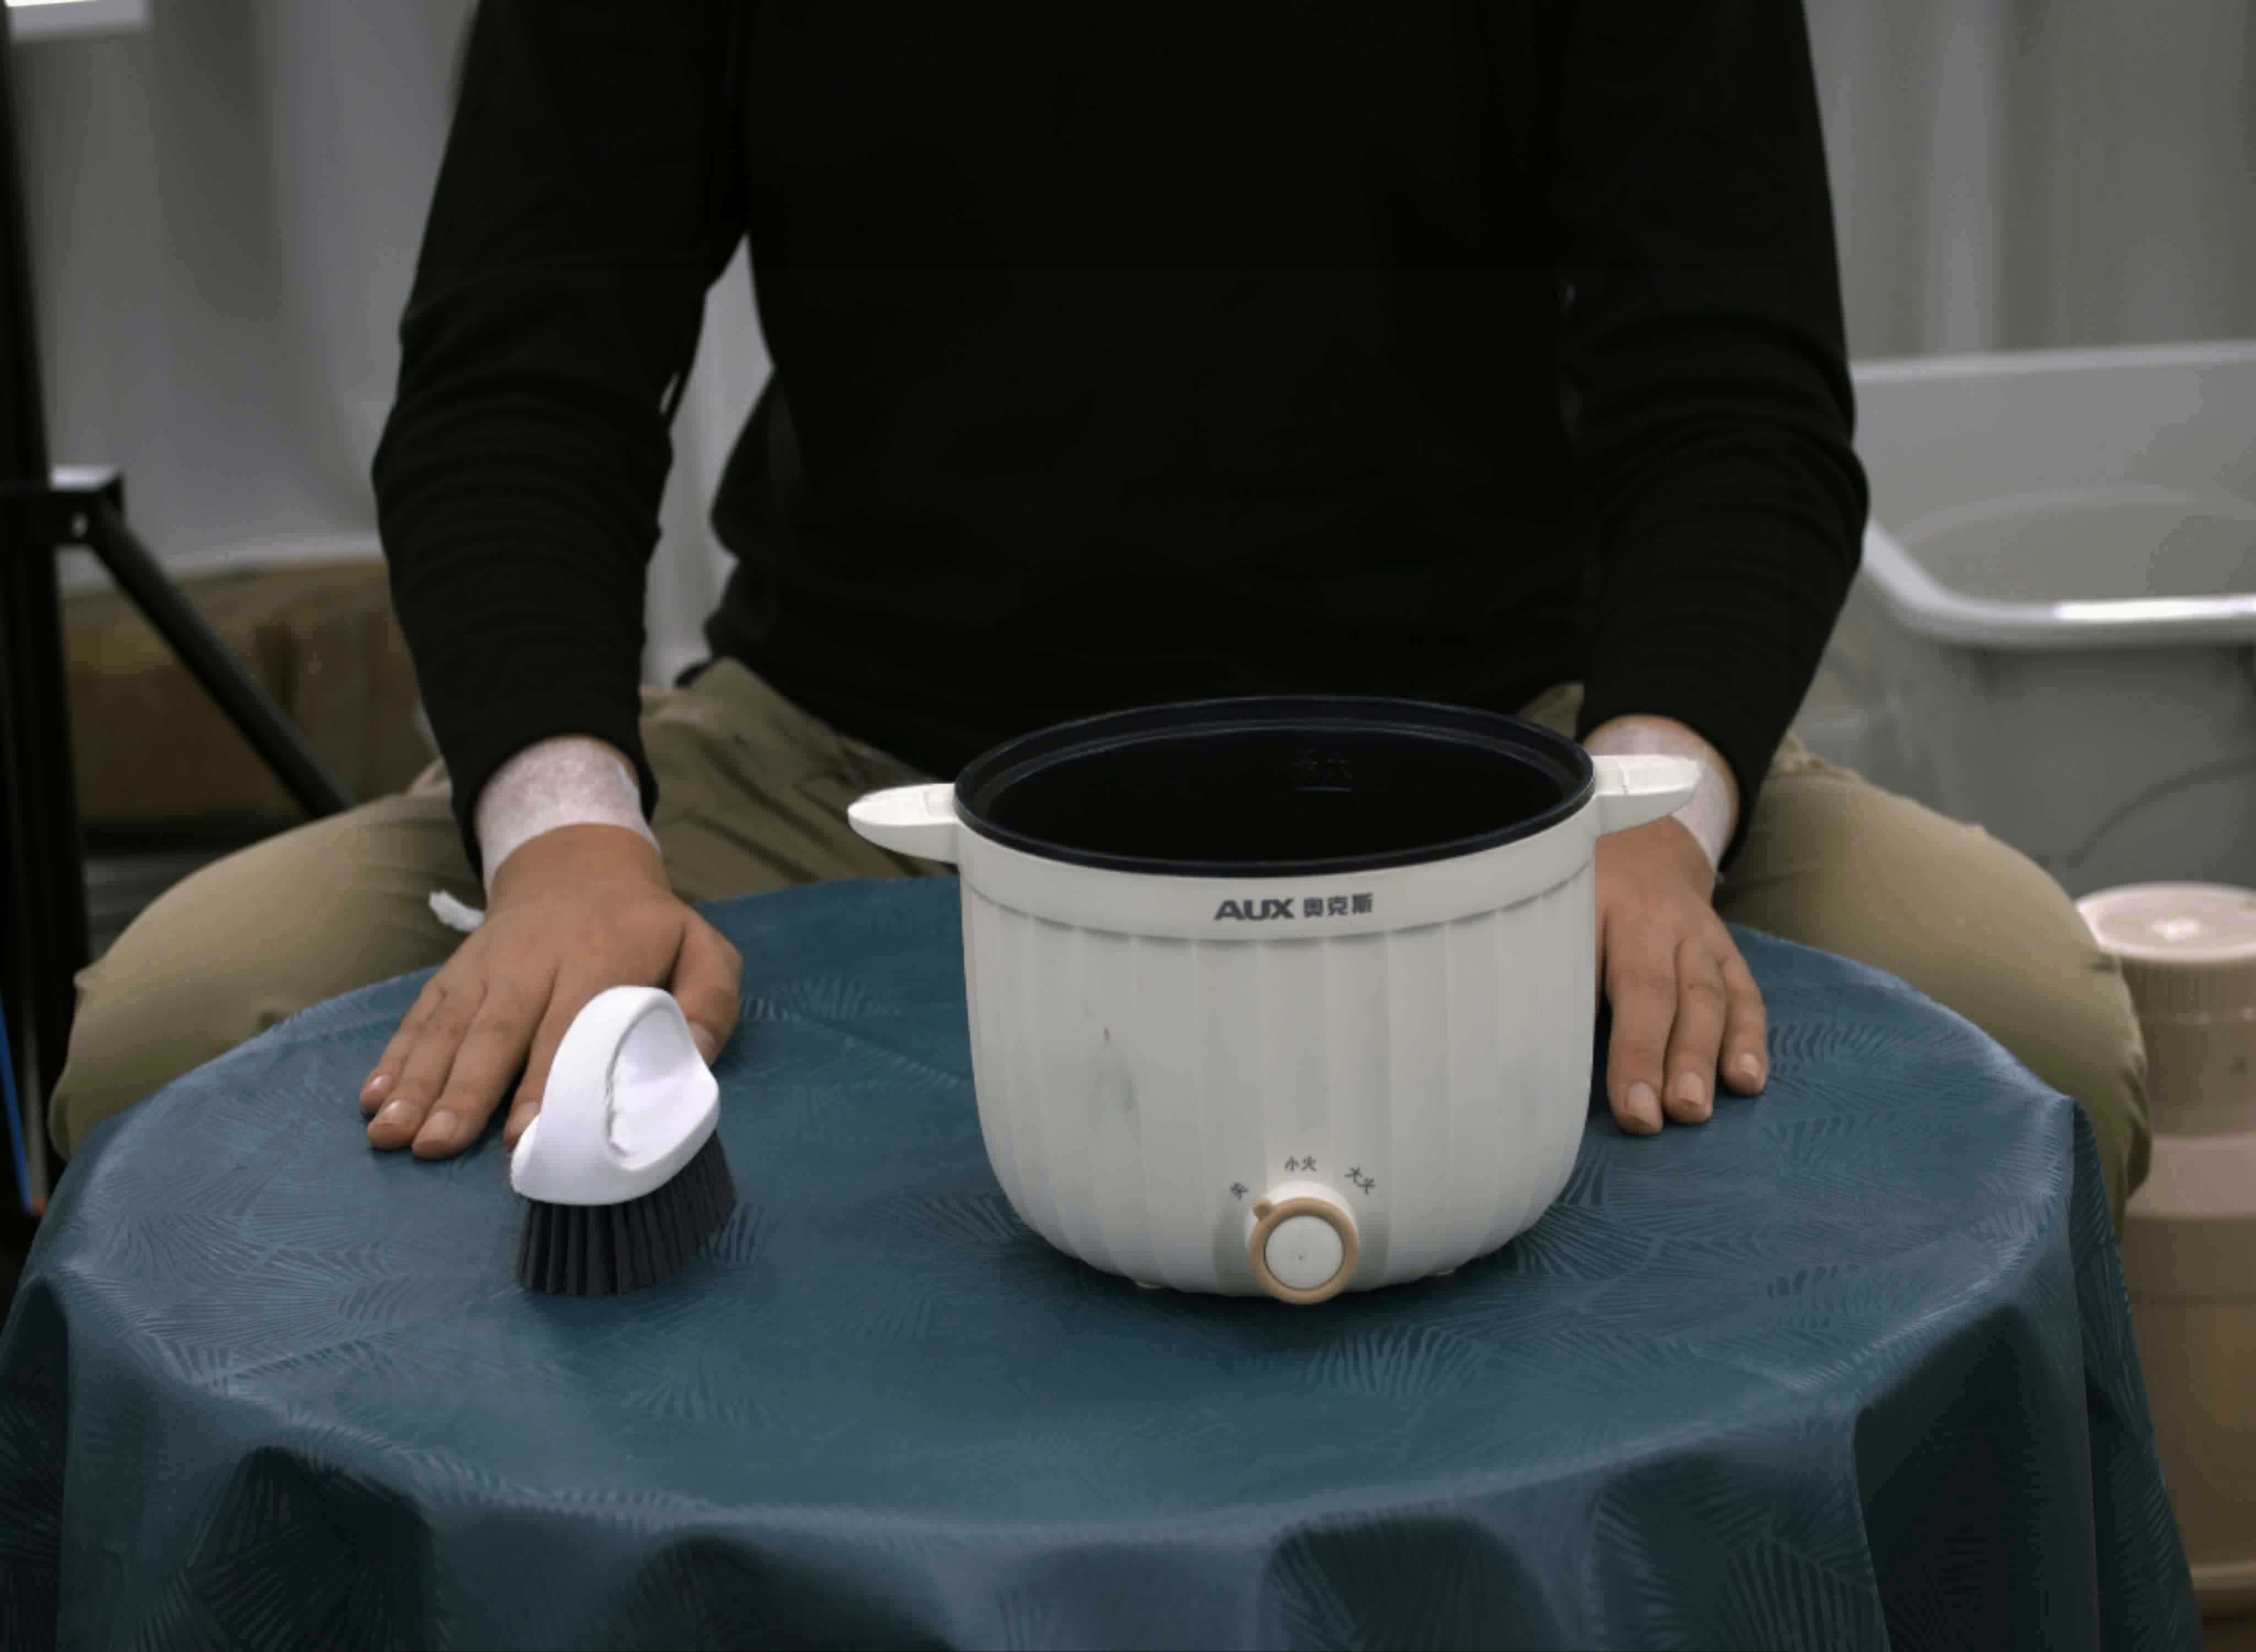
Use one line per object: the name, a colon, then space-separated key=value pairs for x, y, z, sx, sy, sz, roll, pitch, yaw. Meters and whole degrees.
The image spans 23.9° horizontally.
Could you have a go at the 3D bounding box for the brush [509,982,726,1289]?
brush: x=-0.147 y=0.084 z=1.533 sx=0.050 sy=0.072 sz=0.098 roll=2 pitch=16 yaw=13

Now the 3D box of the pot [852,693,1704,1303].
pot: x=0.046 y=0.051 z=1.499 sx=0.239 sy=0.143 sz=0.191 roll=-4 pitch=13 yaw=0
